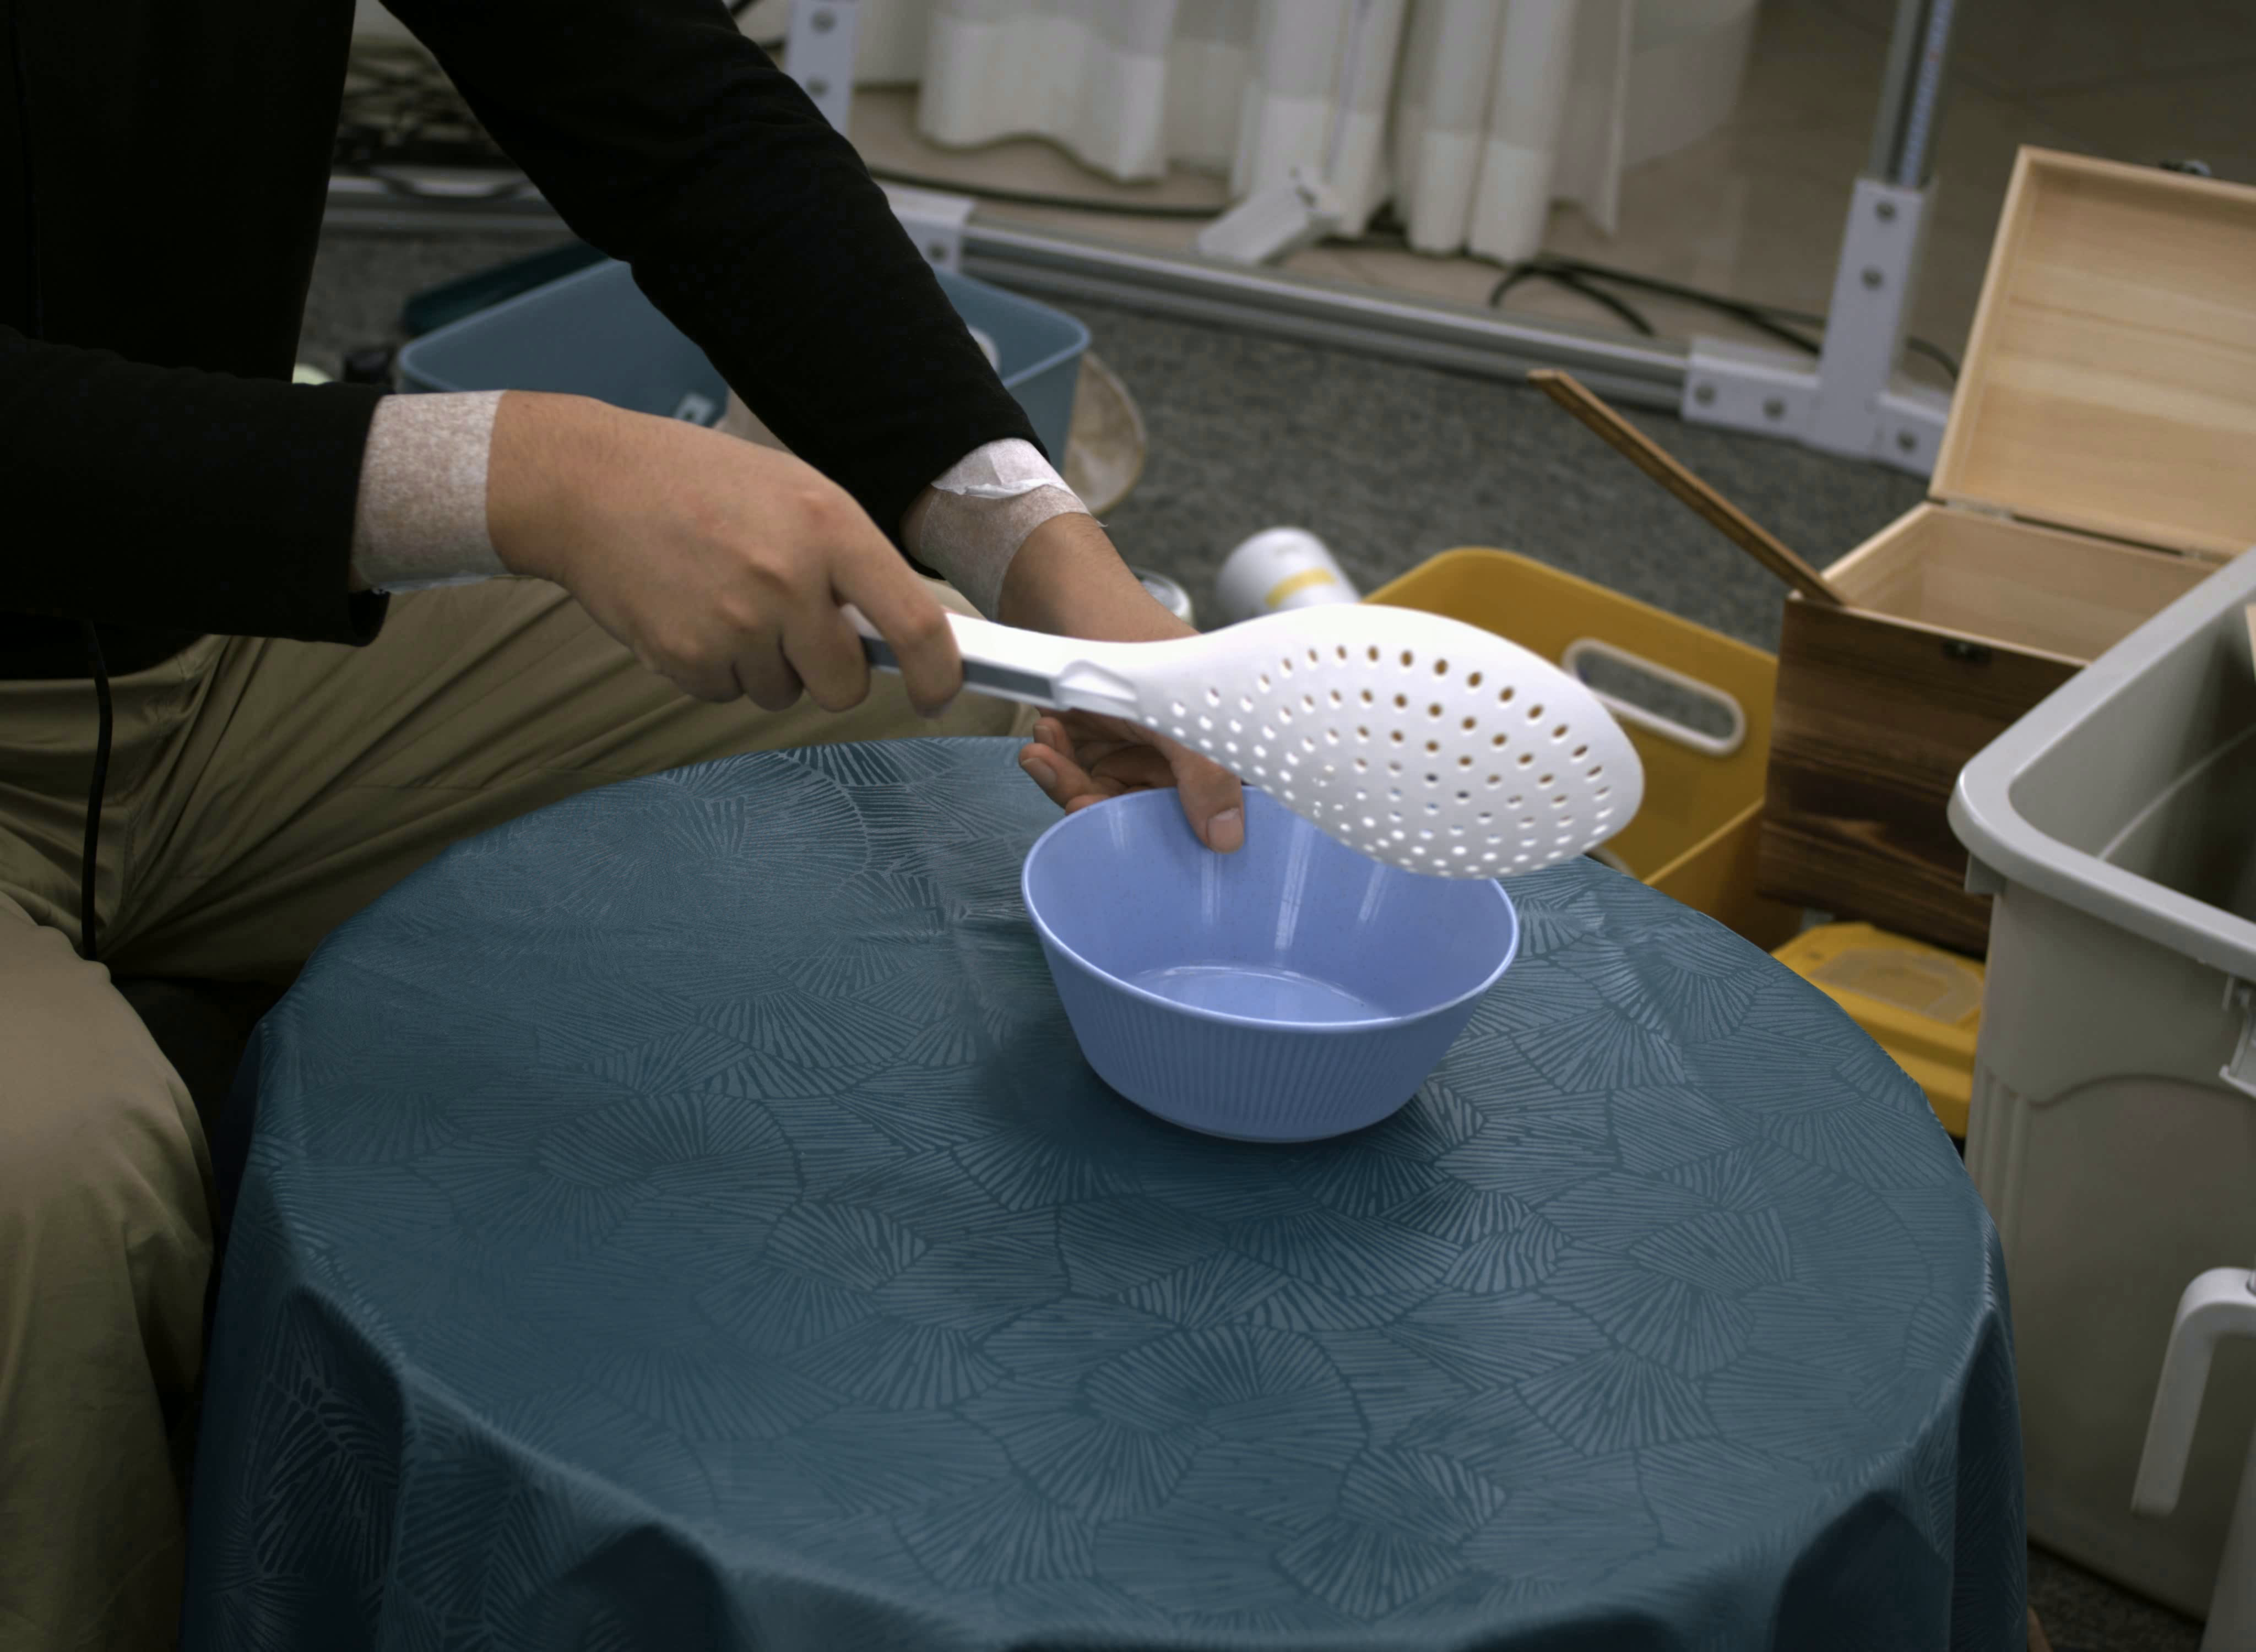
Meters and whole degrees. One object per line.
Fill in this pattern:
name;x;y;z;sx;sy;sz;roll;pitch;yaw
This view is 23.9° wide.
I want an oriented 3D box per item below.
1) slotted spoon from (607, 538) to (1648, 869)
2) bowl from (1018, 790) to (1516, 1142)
slotted spoon;-0.006;-0.049;1.702;0.351;0.135;0.046;17;61;19
bowl;0.046;0.054;1.871;0.175;0.070;0.177;4;26;-2
